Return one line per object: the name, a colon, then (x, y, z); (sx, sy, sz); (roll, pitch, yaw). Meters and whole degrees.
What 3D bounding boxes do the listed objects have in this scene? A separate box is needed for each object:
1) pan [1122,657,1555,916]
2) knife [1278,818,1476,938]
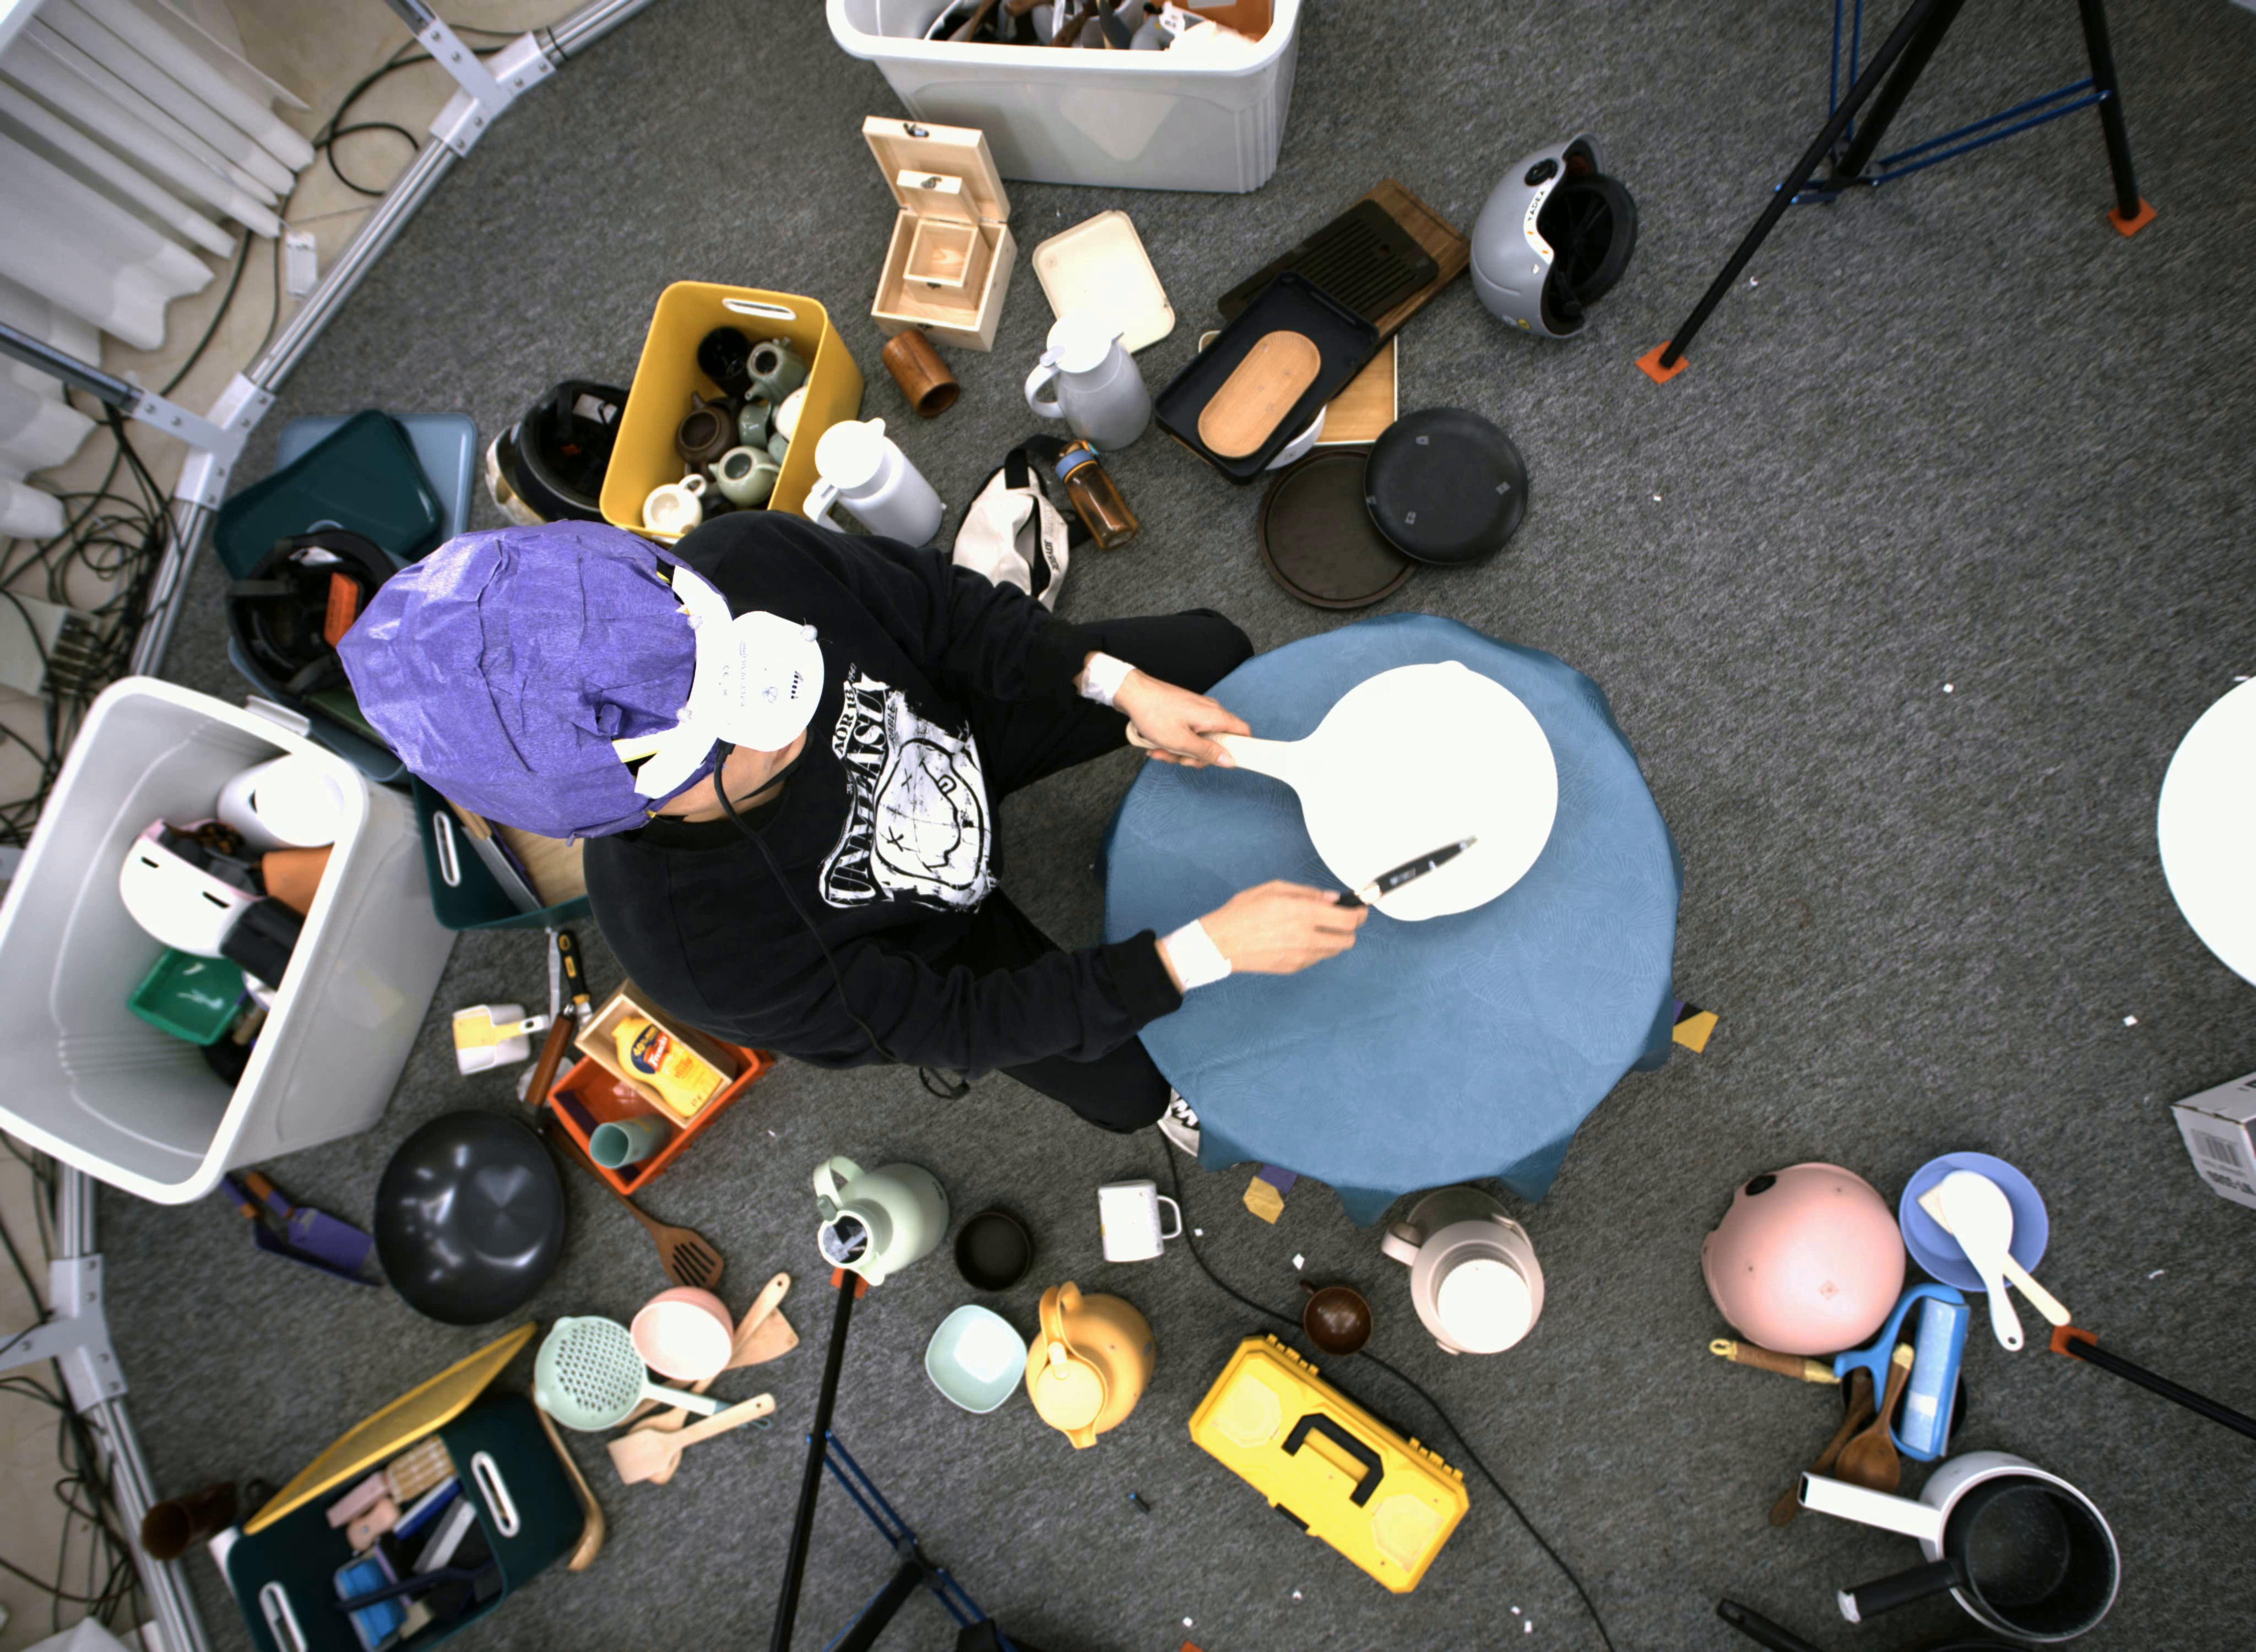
pan: (0.214, -0.058, 1.422); (0.436, 0.101, 0.264); (11, 94, 11)
knife: (0.244, 0.050, 1.345); (0.226, 0.017, 0.026); (-28, 56, 2)
